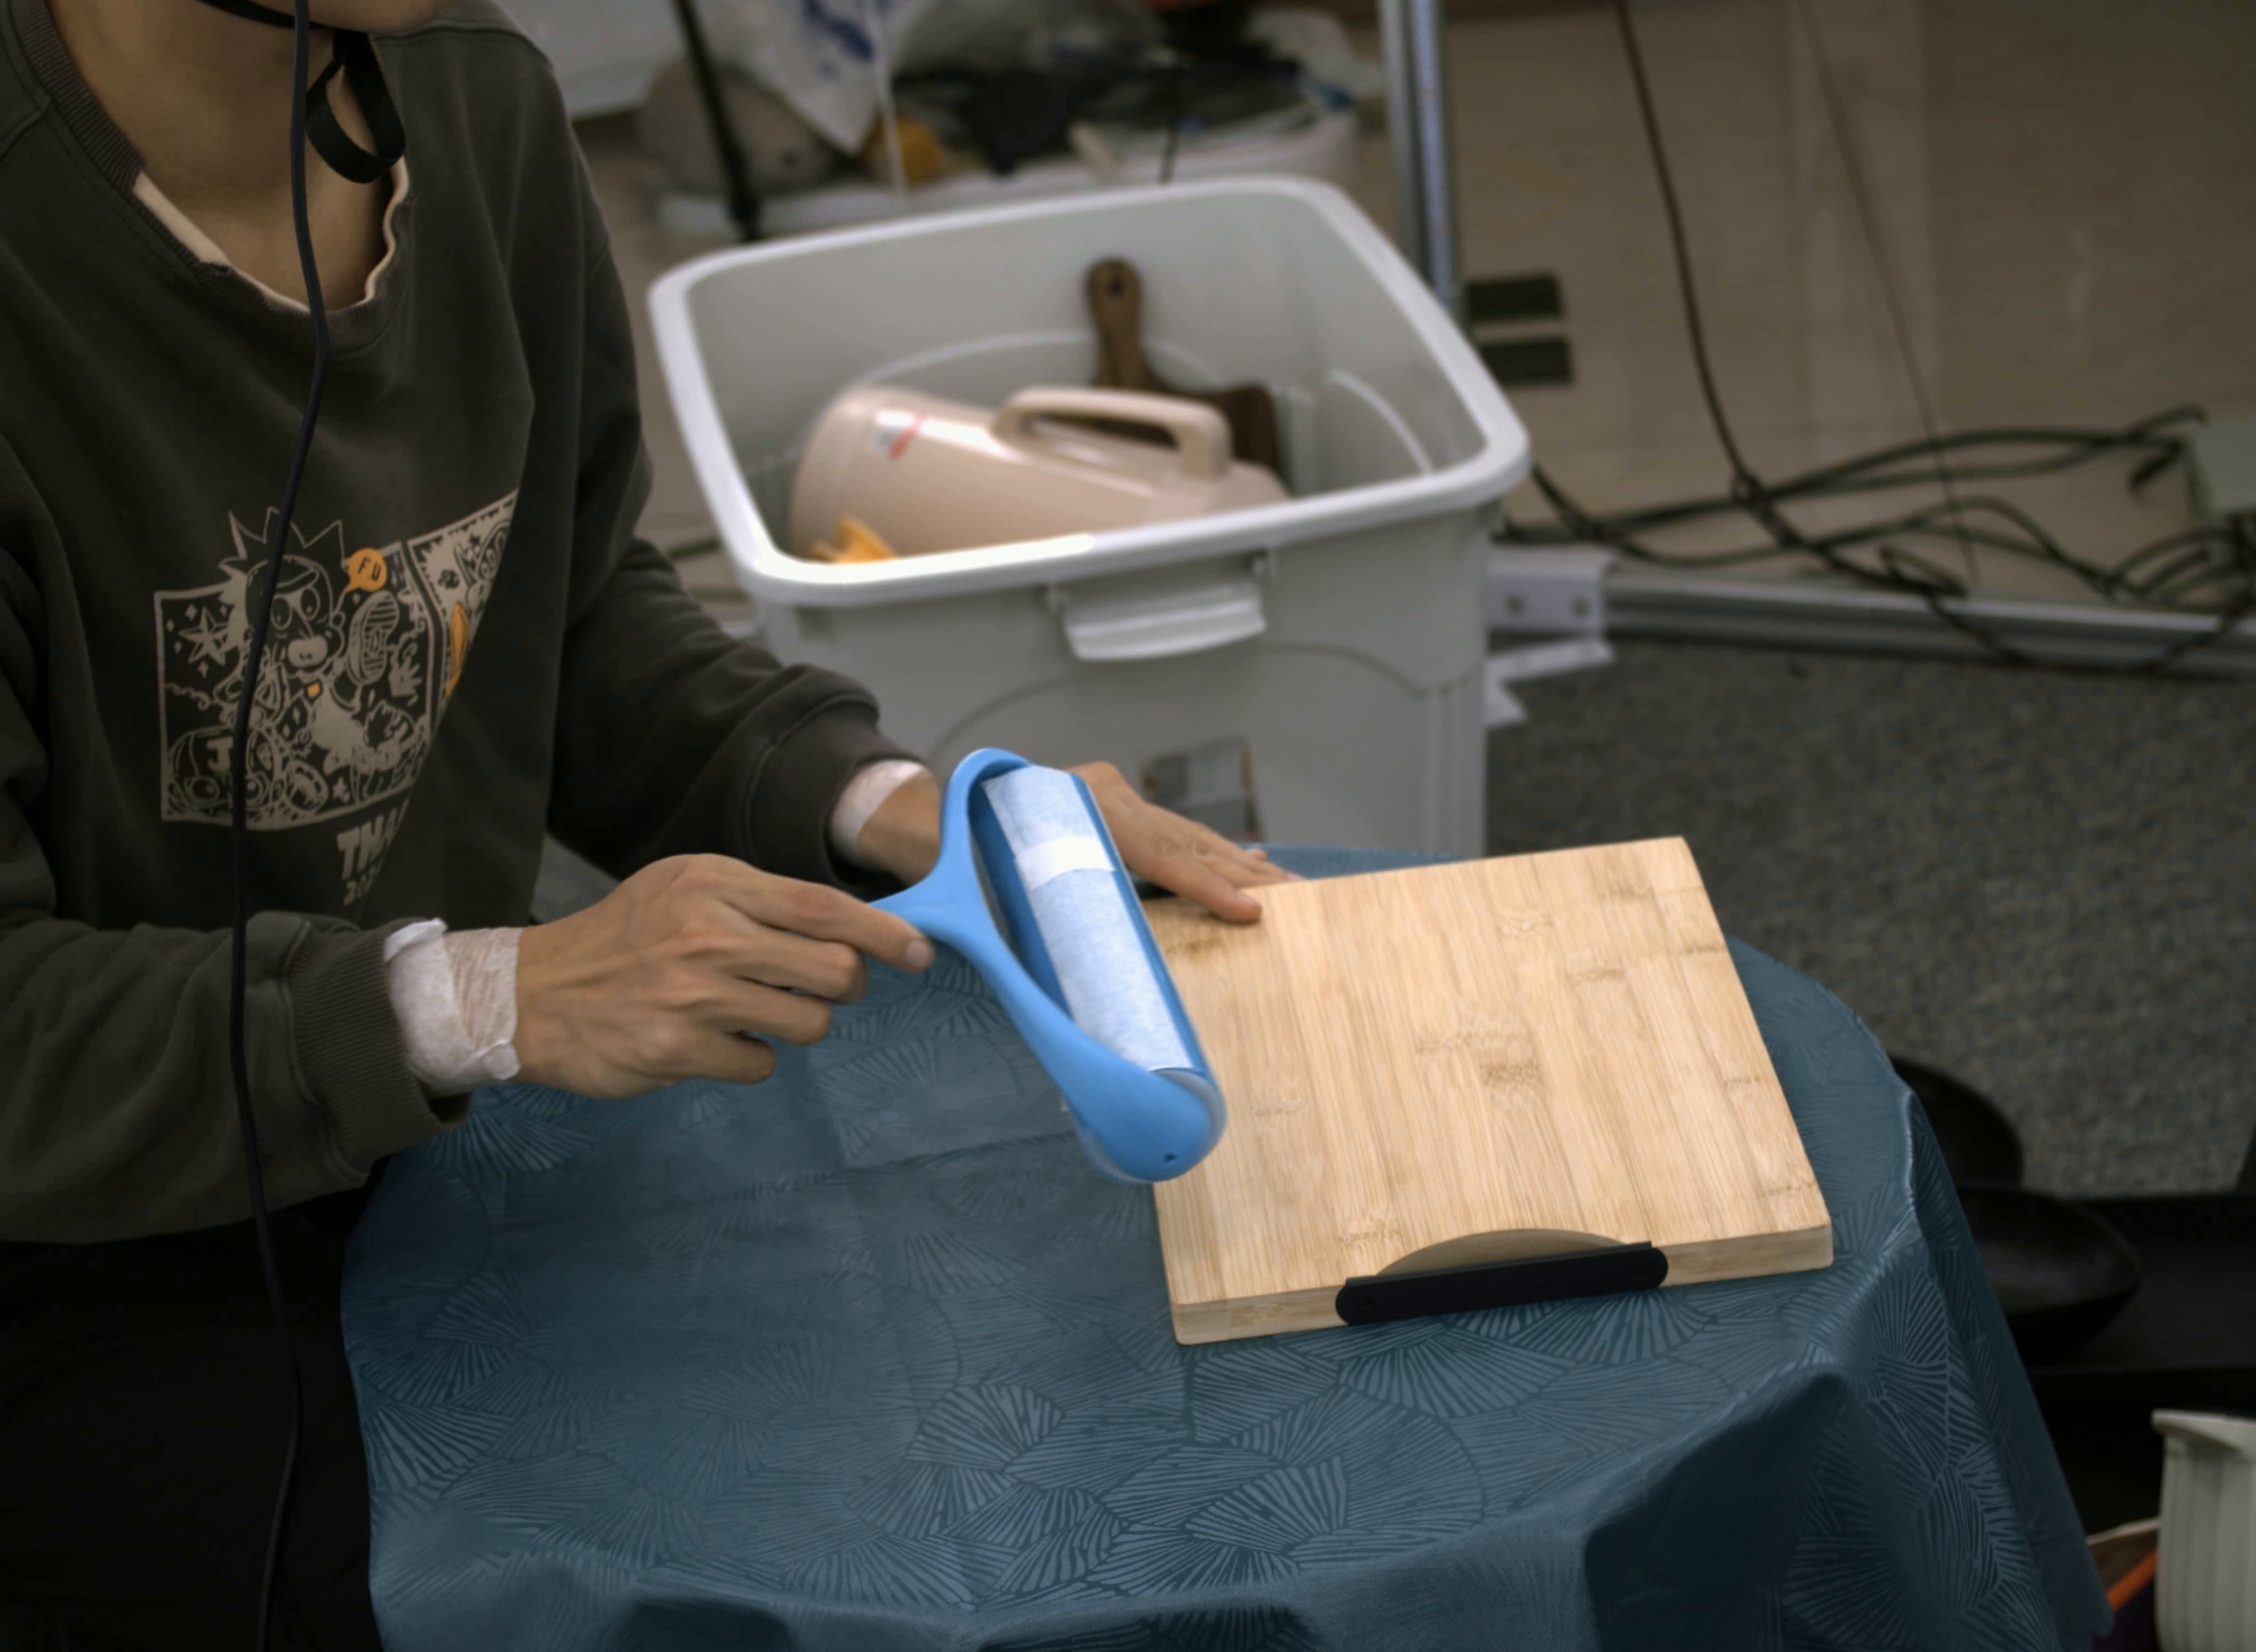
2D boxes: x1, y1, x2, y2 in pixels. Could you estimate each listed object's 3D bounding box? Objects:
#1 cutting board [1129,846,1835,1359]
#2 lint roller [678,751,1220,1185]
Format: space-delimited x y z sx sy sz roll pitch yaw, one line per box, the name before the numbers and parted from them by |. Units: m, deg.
cutting board | 0.124 0.099 2.183 0.250 0.024 0.343 -8 25 -1
lint roller | -0.072 0.053 2.075 0.180 0.069 0.225 -1 37 -19
